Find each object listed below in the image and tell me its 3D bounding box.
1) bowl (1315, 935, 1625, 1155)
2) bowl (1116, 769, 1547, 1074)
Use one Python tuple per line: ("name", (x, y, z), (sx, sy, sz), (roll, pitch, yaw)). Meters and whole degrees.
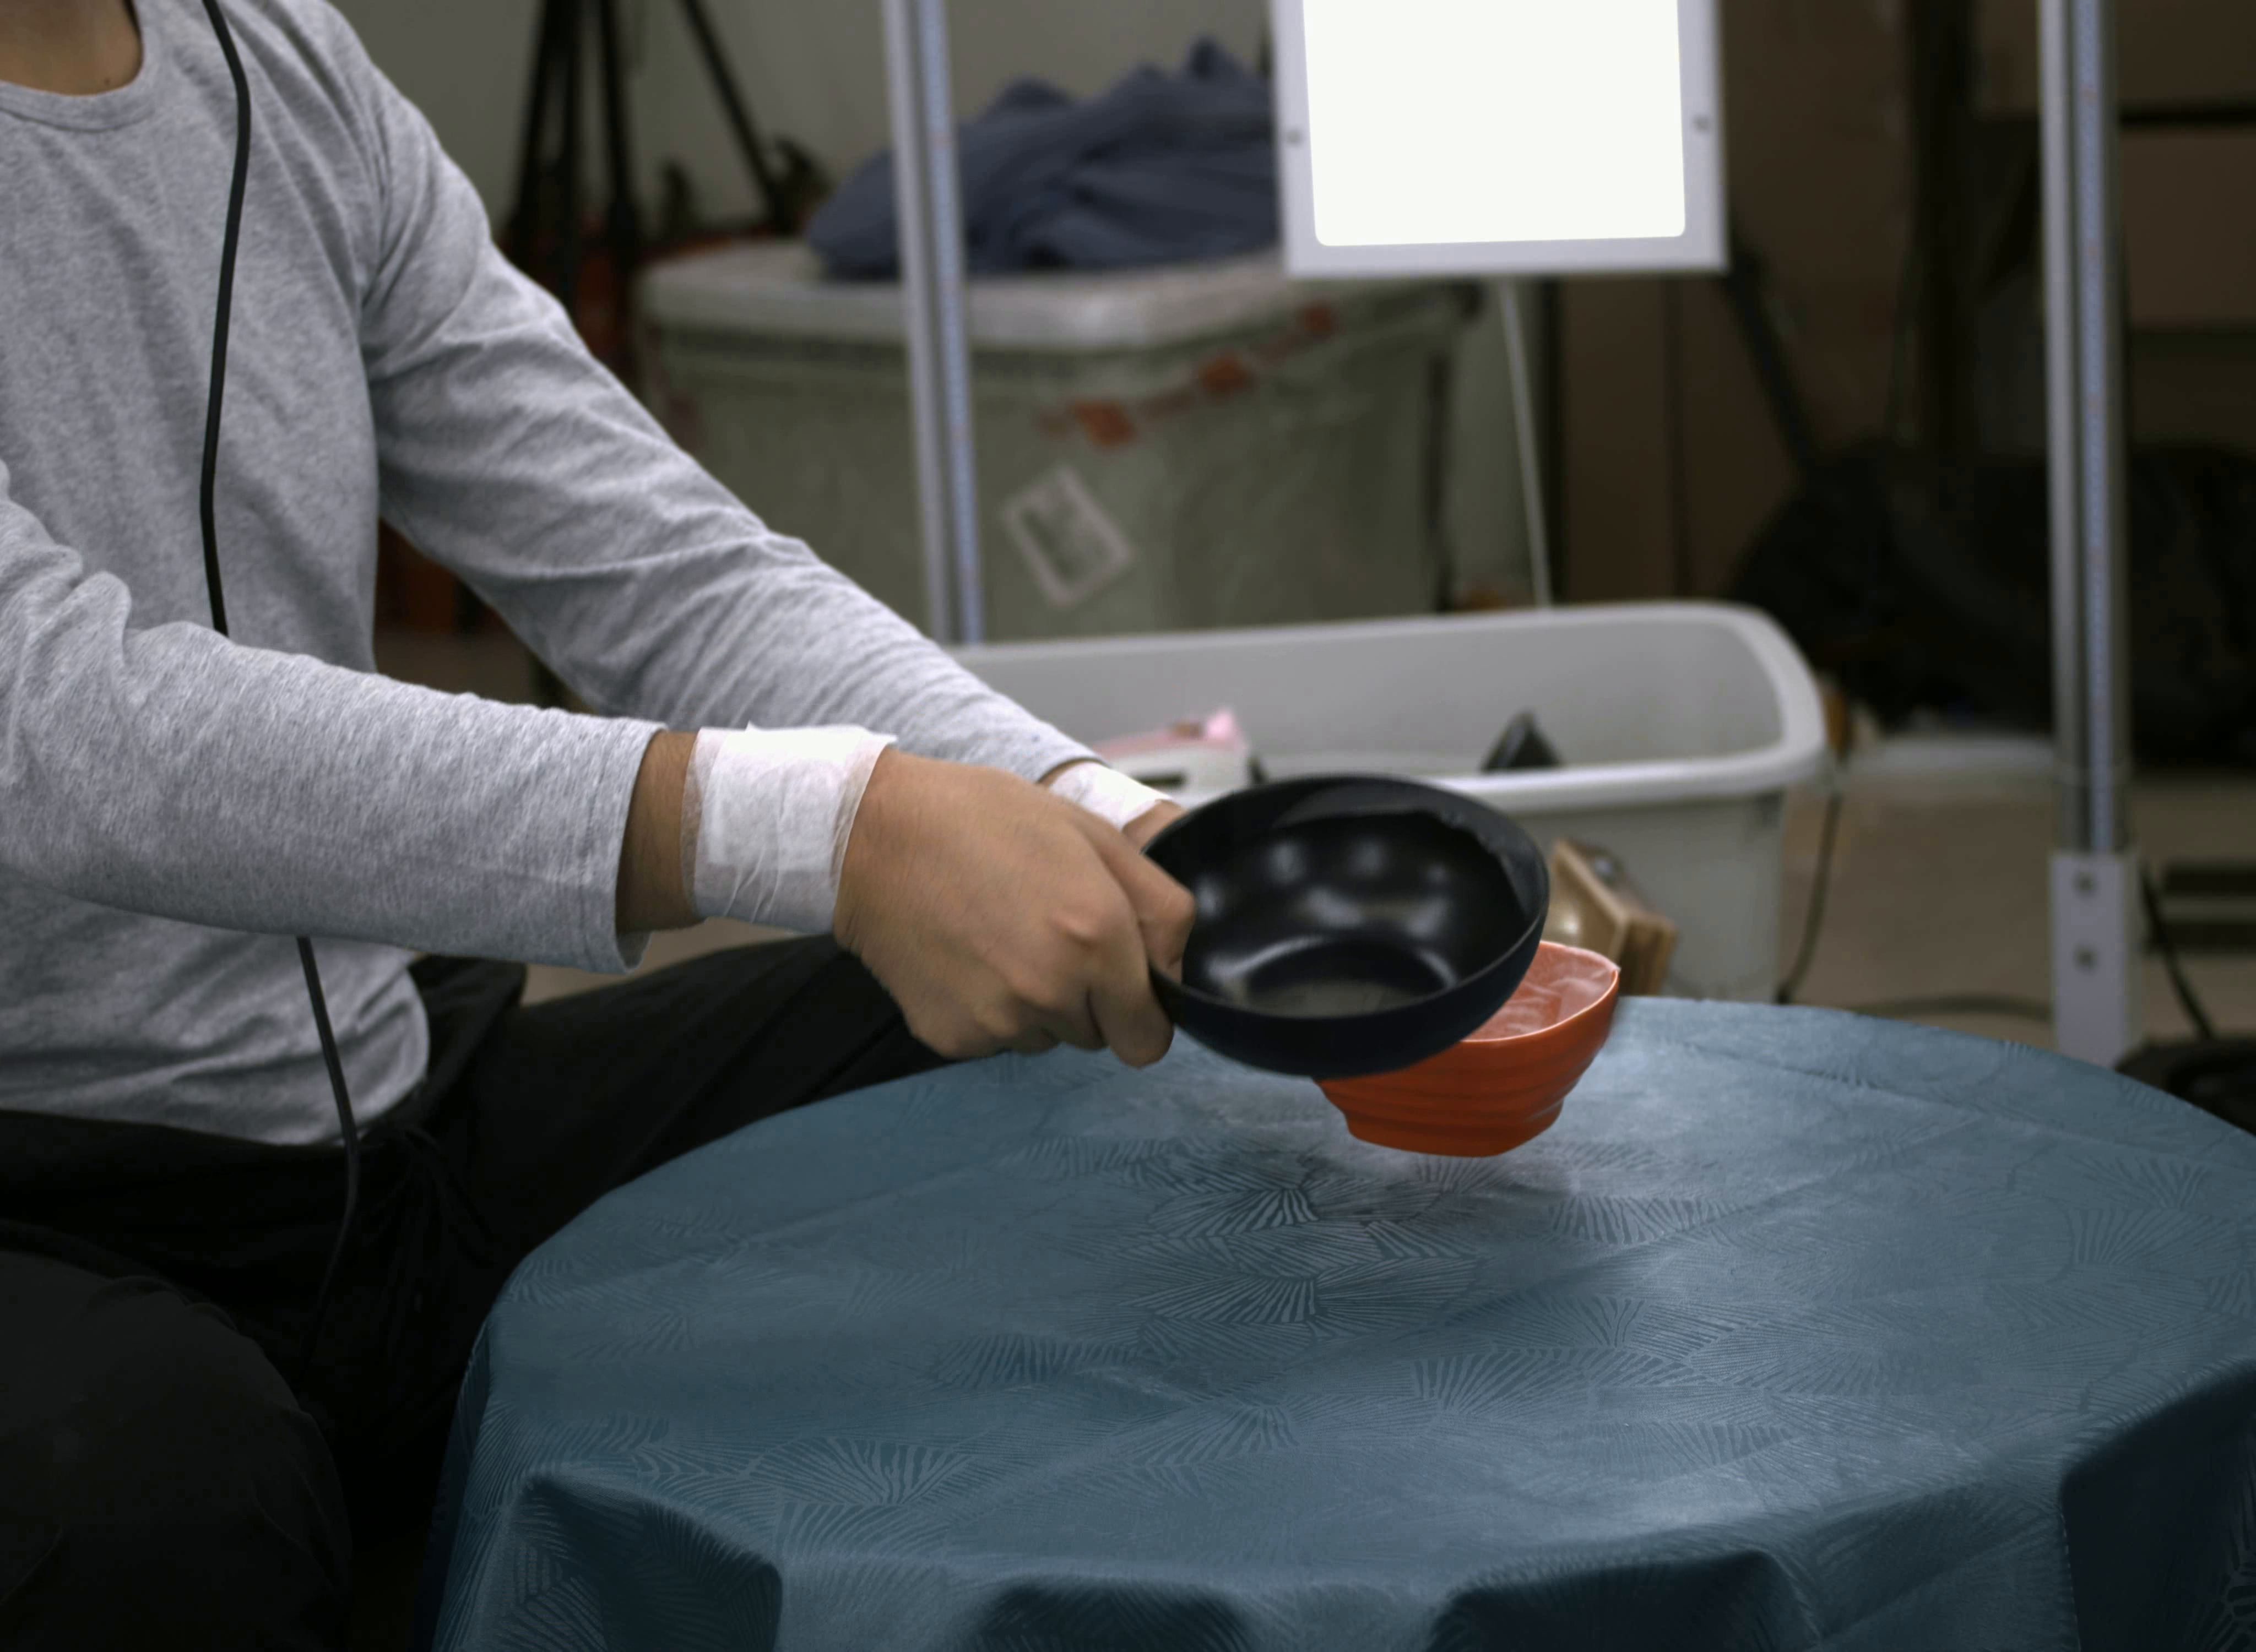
("bowl", (0.115, 0.077, 1.894), (0.118, 0.051, 0.119), (-5, 17, 0))
("bowl", (0.068, 0.039, 1.764), (0.140, 0.050, 0.139), (-9, 31, 4))
